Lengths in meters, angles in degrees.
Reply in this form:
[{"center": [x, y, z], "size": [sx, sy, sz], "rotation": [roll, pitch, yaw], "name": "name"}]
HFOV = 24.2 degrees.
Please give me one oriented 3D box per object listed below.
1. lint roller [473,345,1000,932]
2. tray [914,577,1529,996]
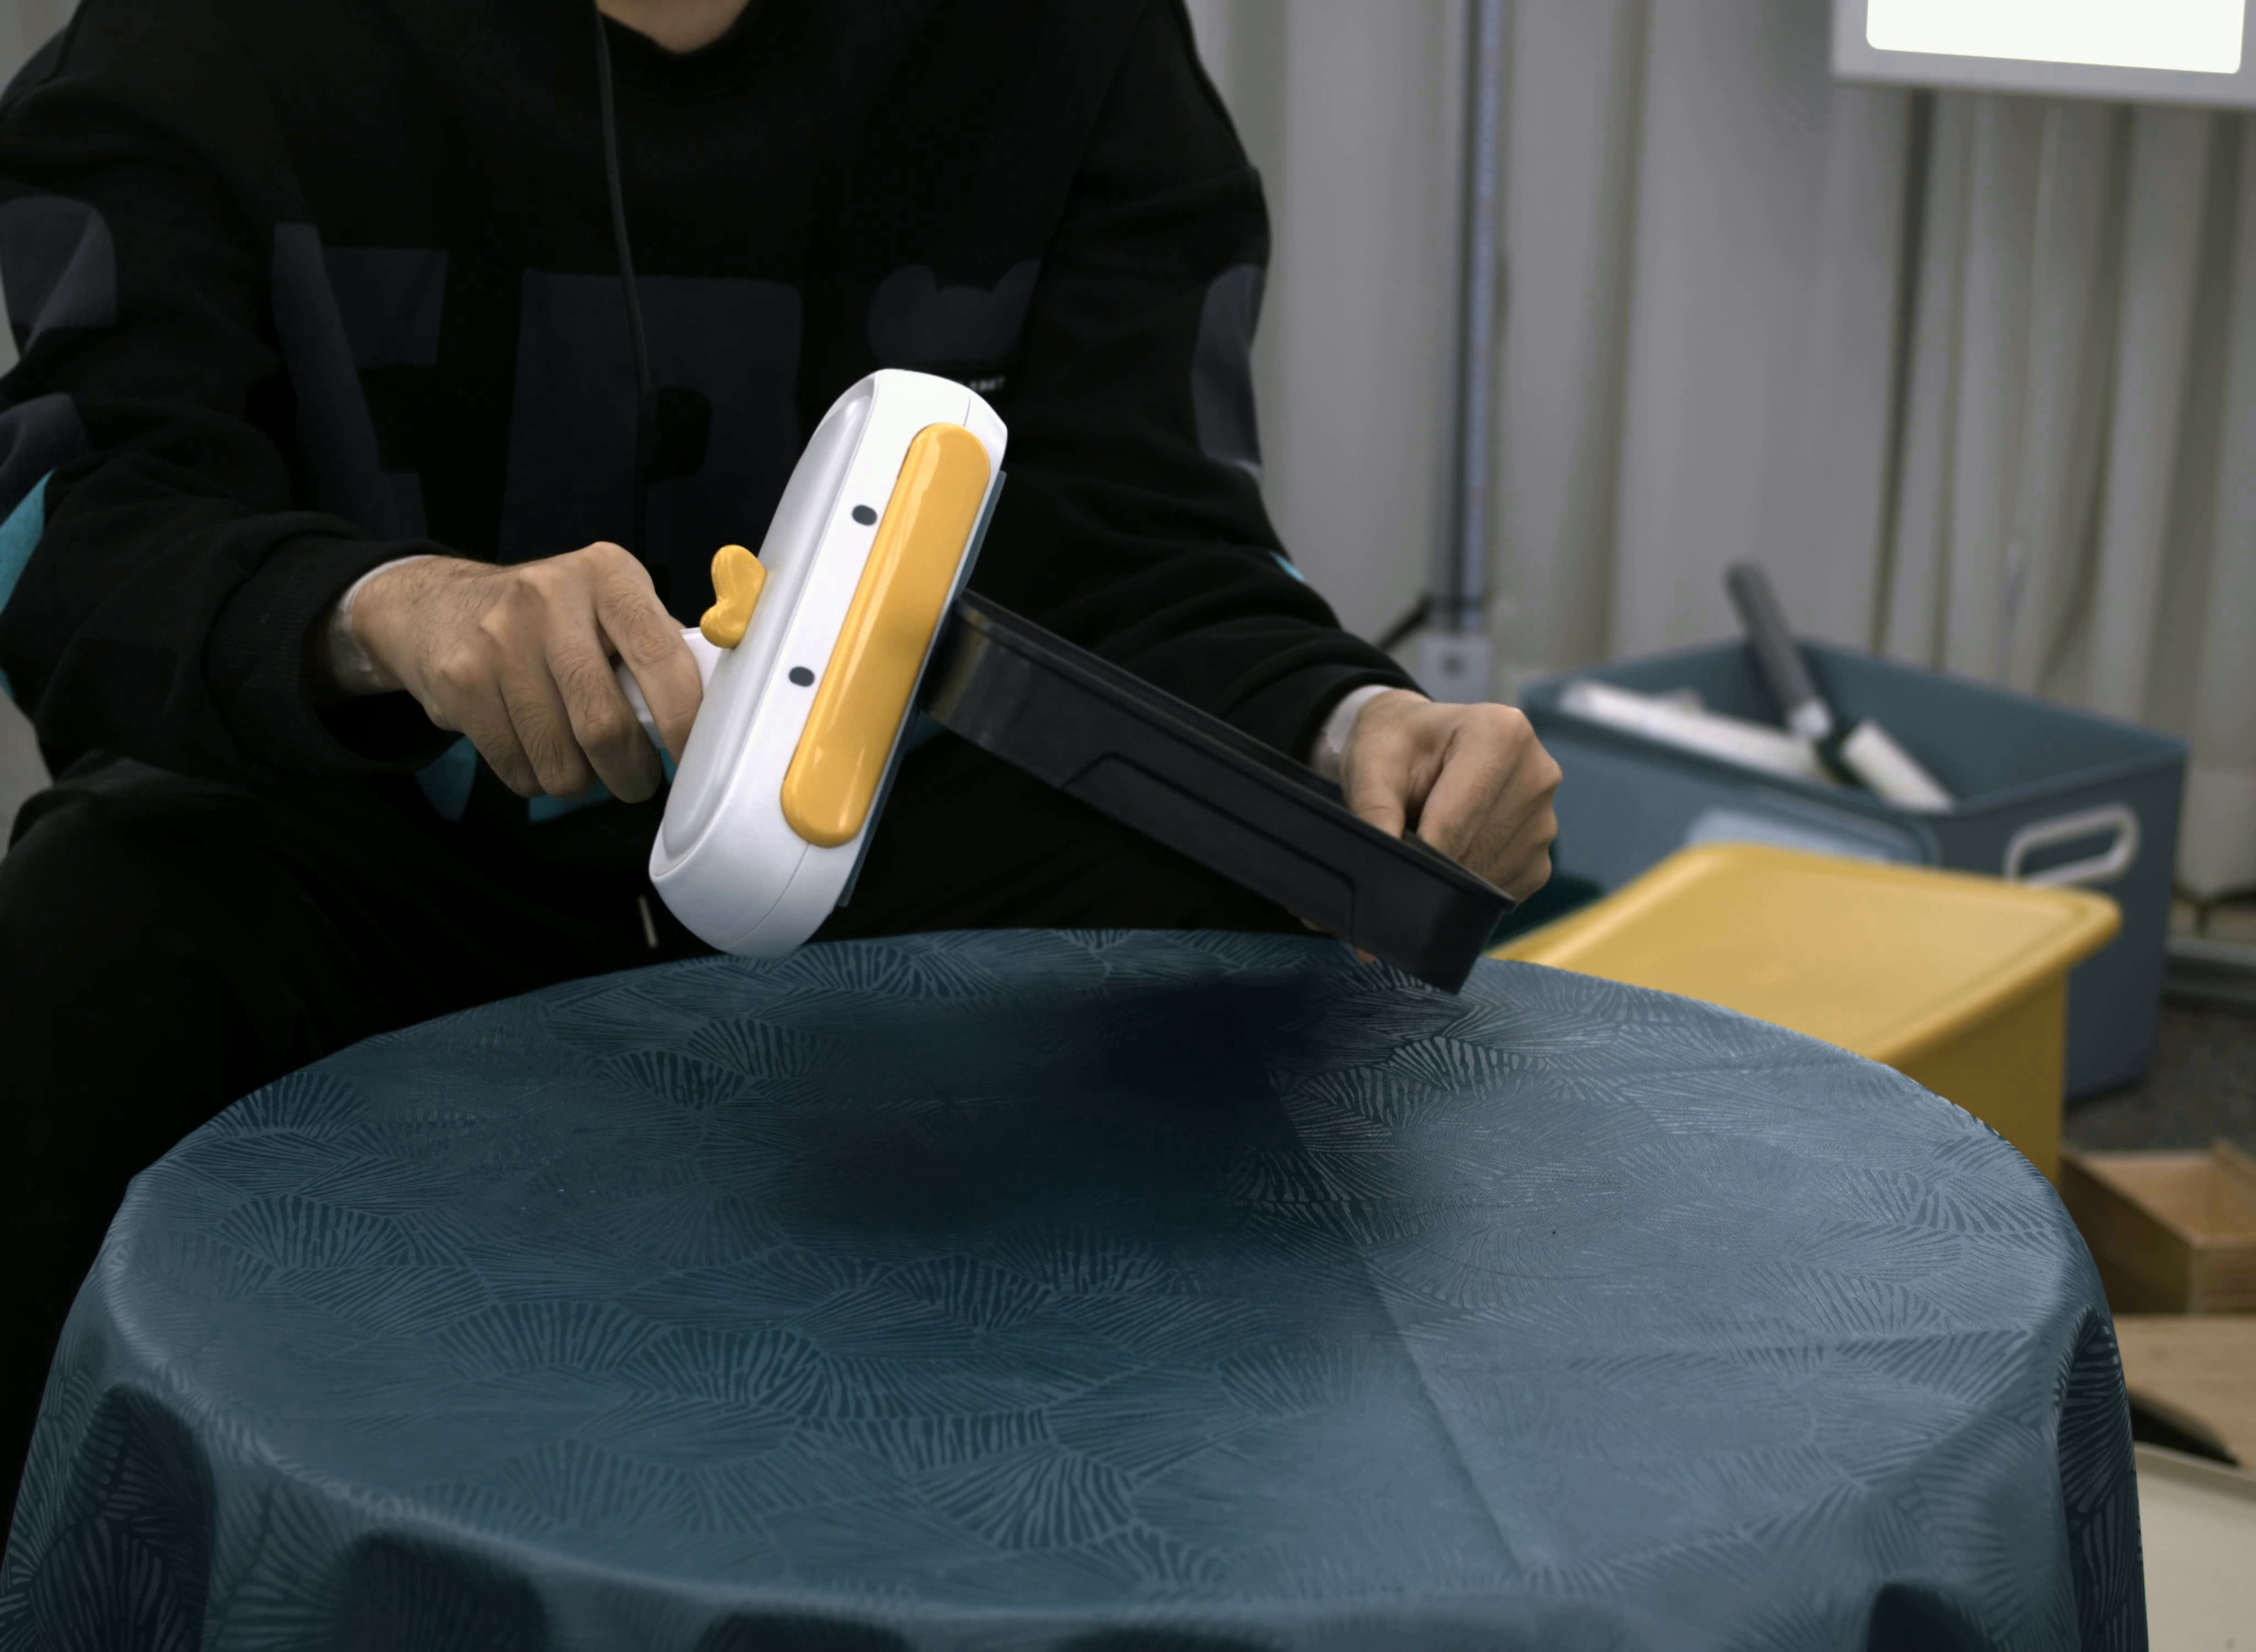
[{"center": [-0.128, -0.046, 1.616], "size": [0.075, 0.192, 0.191], "rotation": [29, -31, -29], "name": "lint roller"}, {"center": [0.011, -0.022, 1.677], "size": [0.185, 0.037, 0.316], "rotation": [28, 2, -11], "name": "tray"}]
